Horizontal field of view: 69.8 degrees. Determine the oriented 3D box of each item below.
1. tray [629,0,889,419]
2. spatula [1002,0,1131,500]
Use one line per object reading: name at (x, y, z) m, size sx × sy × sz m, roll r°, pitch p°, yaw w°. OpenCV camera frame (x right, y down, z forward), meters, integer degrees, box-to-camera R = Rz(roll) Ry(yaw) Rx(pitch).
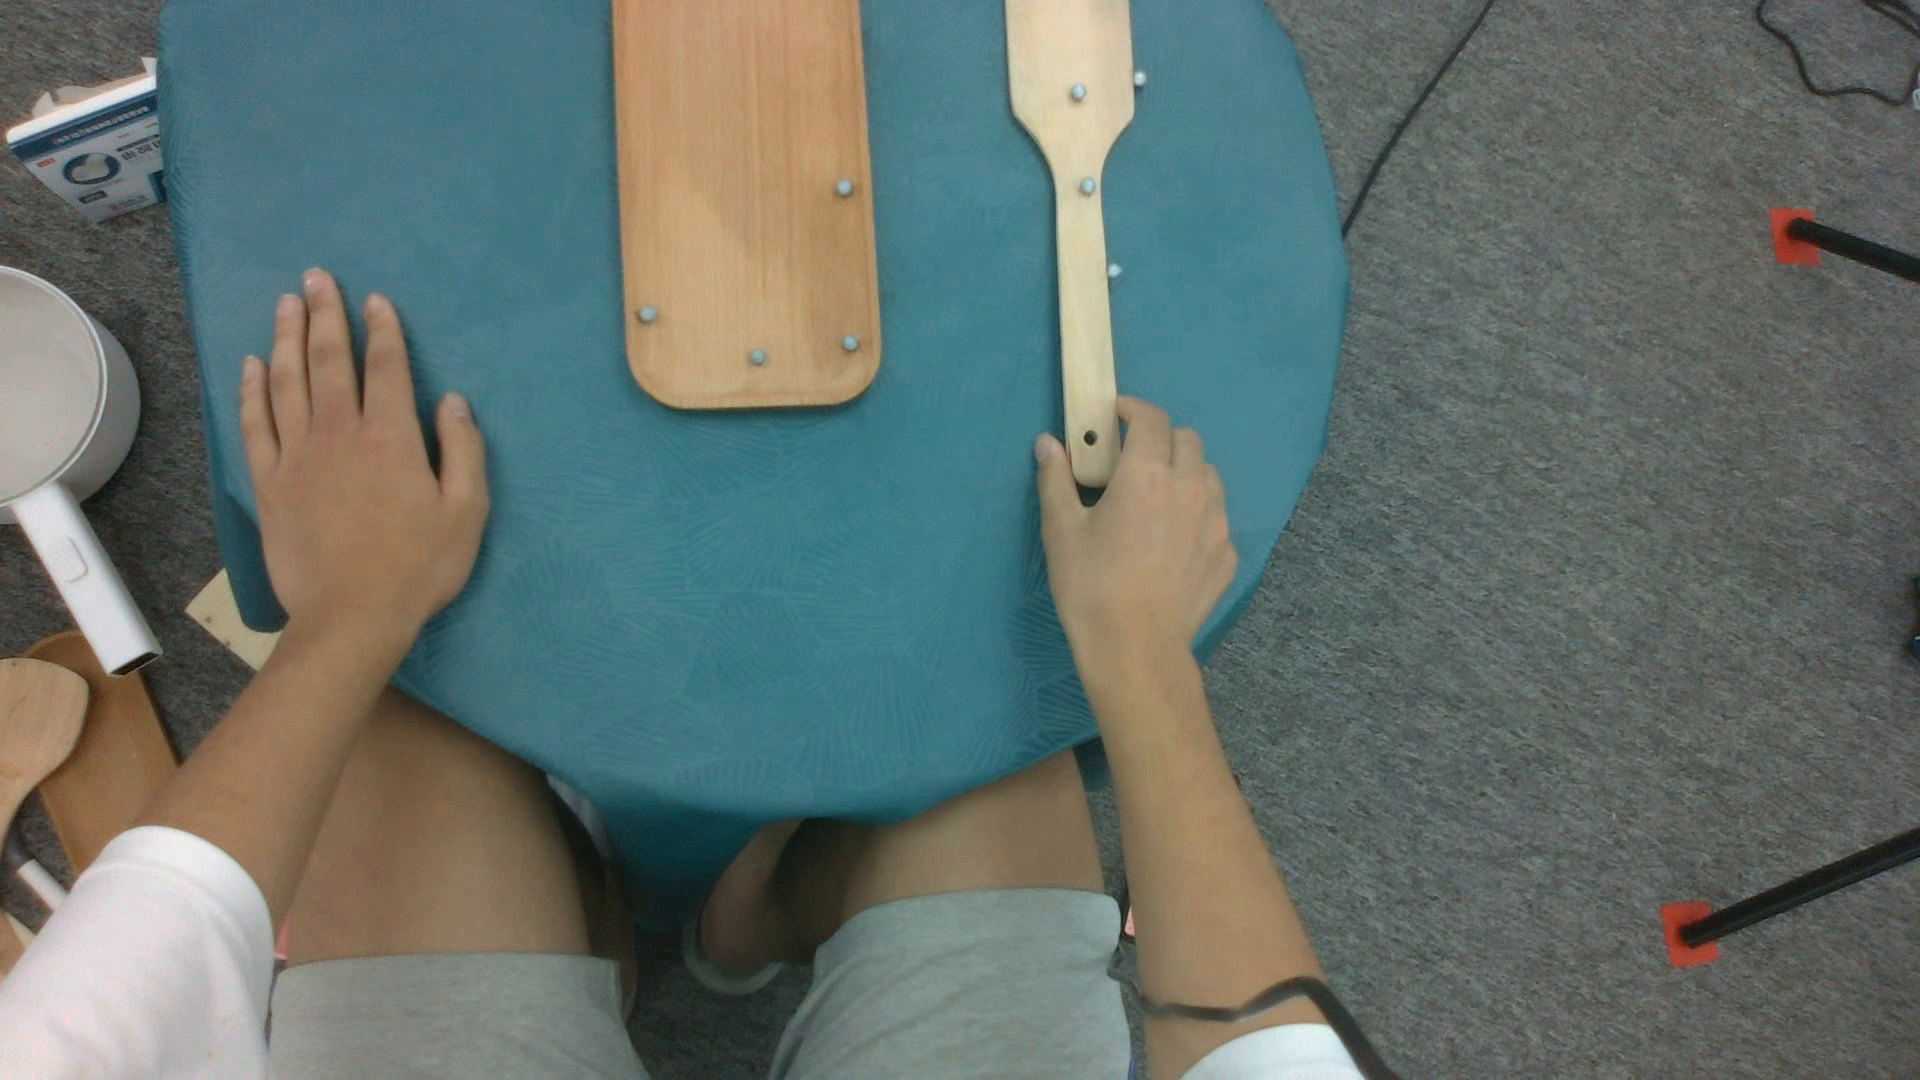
tray at (-0.108, -0.187, 0.732) m, size 0.131 × 0.023 × 0.251 m, roll -1°, pitch 80°, yaw -11°
spatula at (0.066, -0.164, 0.752) m, size 0.072 × 0.010 × 0.293 m, roll -1°, pitch 77°, yaw -8°
